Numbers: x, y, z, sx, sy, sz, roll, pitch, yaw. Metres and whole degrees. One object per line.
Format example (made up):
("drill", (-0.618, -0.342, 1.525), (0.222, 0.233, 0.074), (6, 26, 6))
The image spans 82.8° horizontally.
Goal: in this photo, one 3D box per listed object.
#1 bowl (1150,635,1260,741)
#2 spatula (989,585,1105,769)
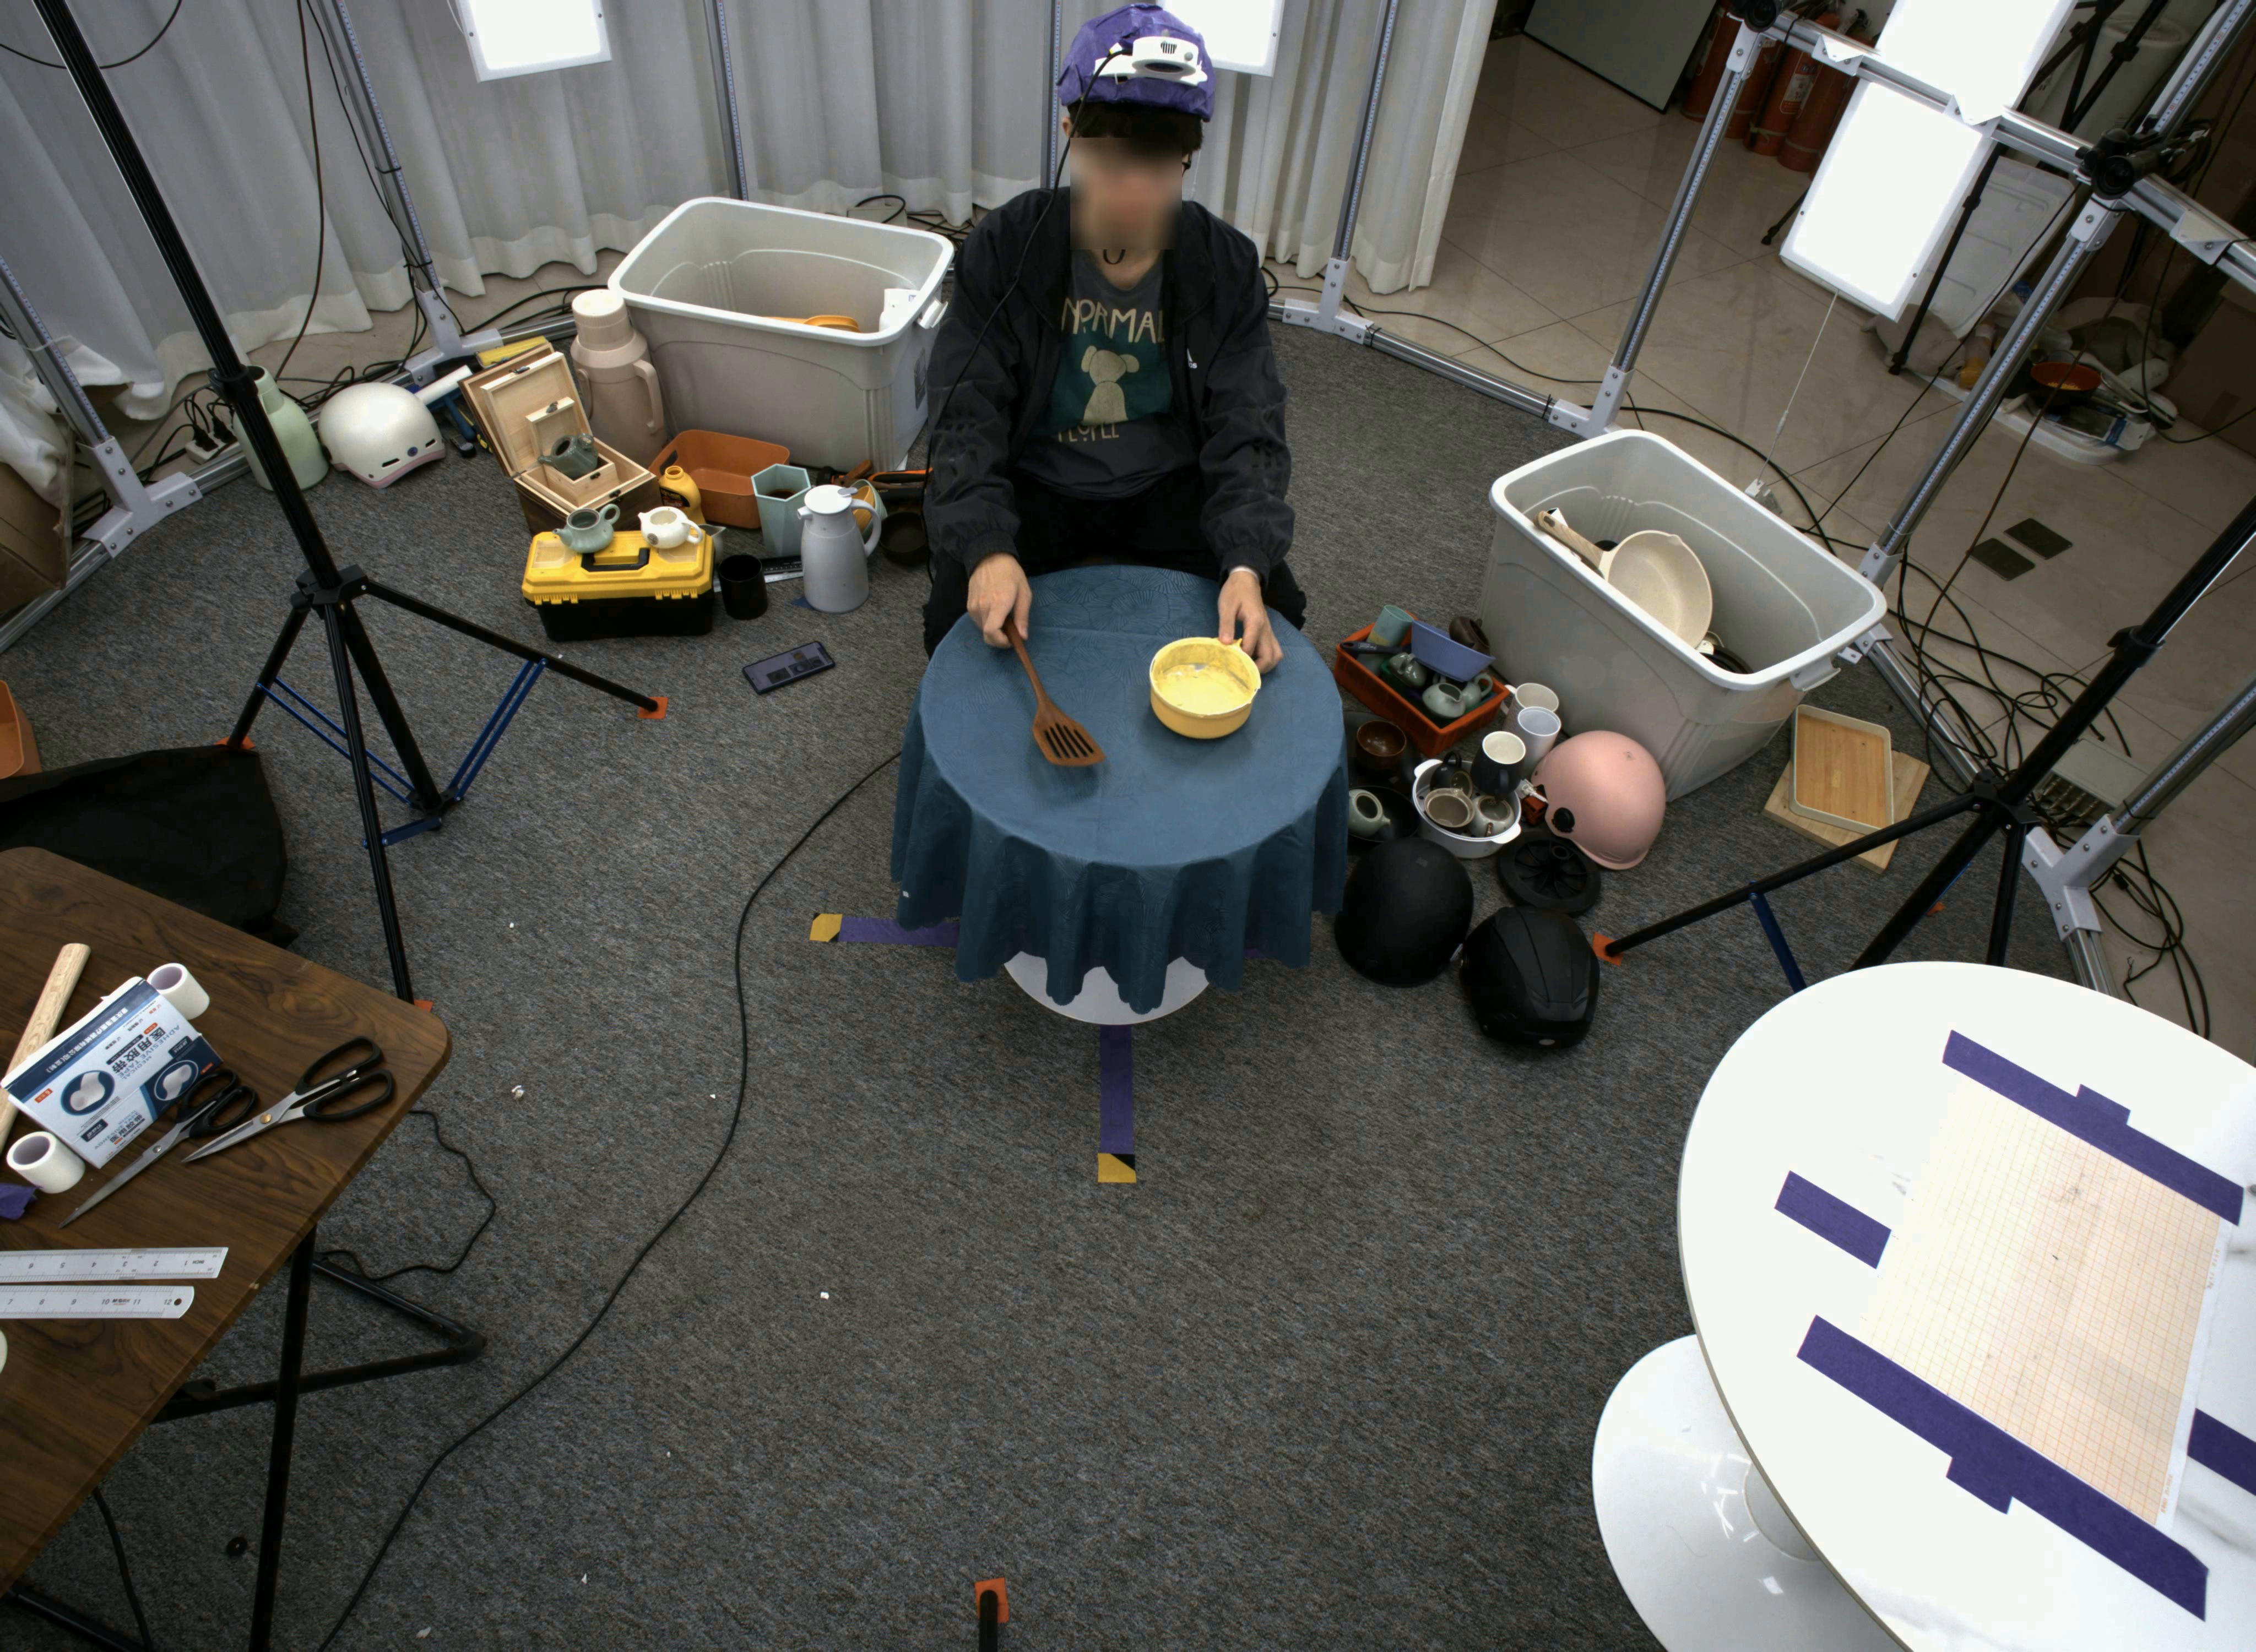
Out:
("bowl", (0.111, -0.196, 1.804), (0.154, 0.072, 0.182), (19, 51, 12))
("spatula", (-0.132, -0.213, 1.803), (0.085, 0.023, 0.396), (-5, 49, -25))
